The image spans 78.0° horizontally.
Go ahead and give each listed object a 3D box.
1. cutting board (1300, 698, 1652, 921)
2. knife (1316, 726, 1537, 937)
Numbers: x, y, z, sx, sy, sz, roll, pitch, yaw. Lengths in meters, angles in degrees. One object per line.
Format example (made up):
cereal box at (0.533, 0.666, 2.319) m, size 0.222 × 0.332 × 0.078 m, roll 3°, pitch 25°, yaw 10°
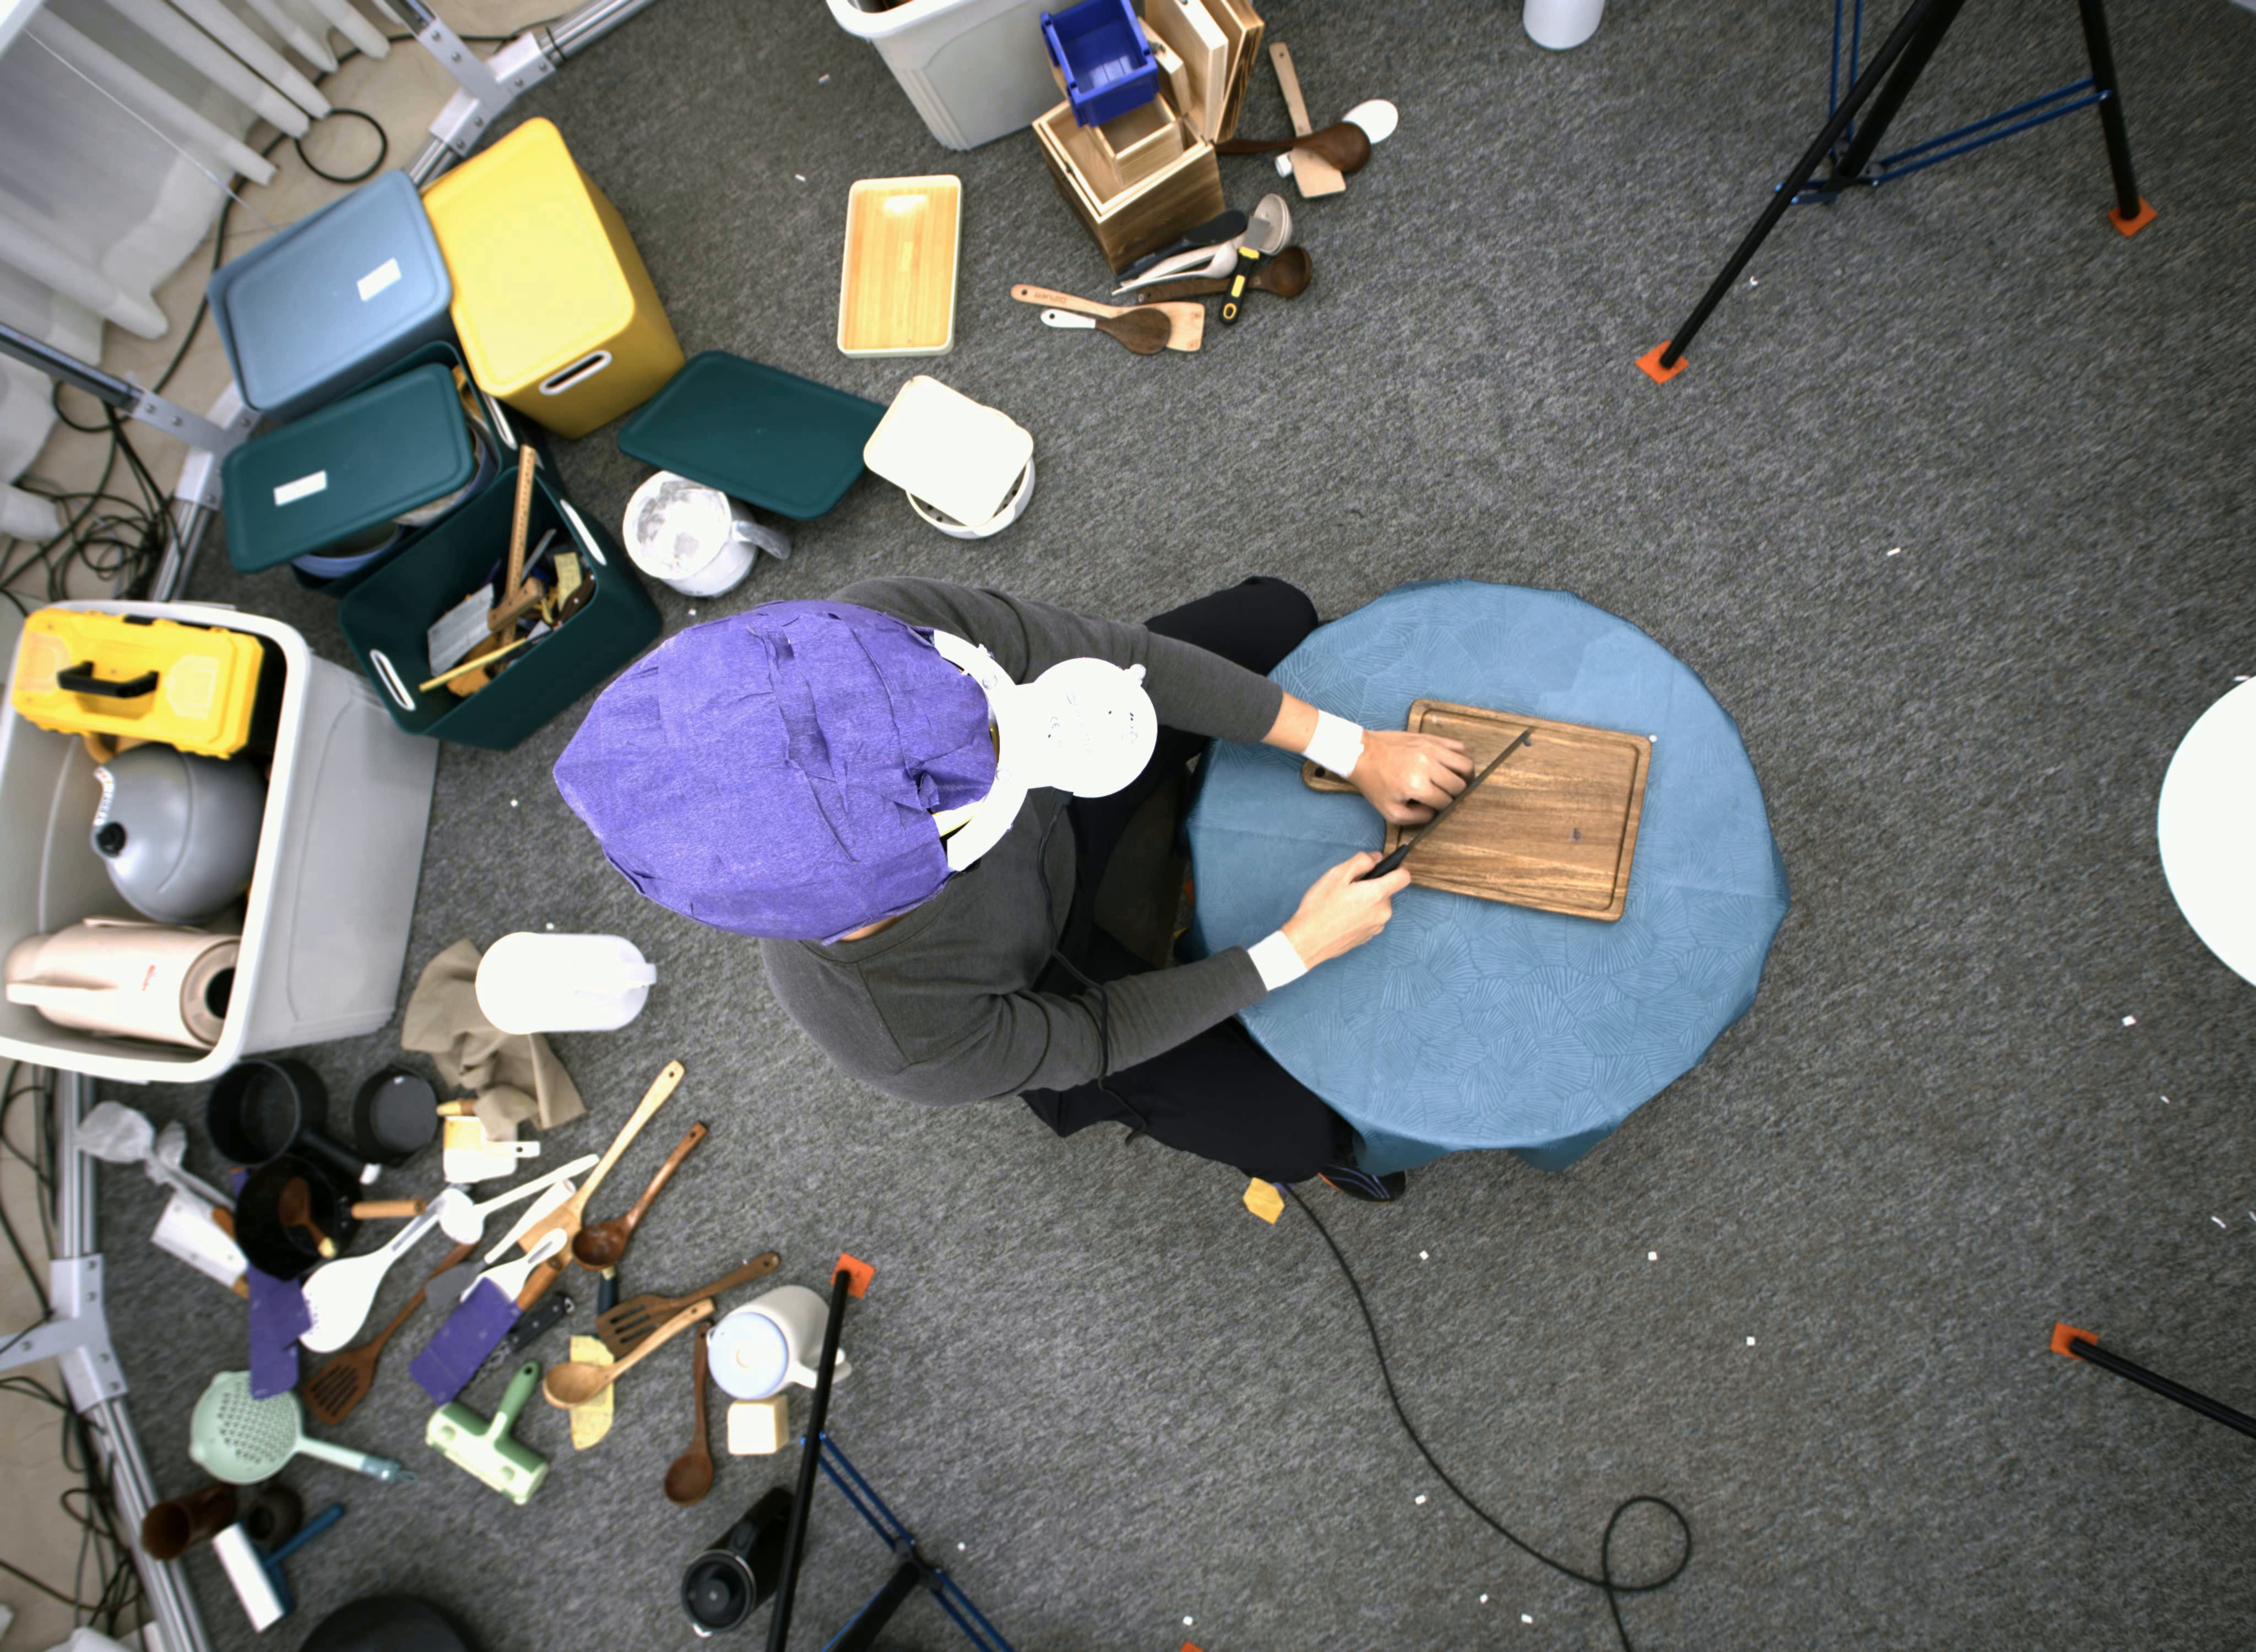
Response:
cutting board at (0.355, -0.030, 1.439) m, size 0.353 × 0.023 × 0.200 m, roll 10°, pitch 88°, yaw 11°
knife at (0.302, 0.005, 1.397) m, size 0.306 × 0.080 × 0.020 m, roll -45°, pitch 73°, yaw 14°
